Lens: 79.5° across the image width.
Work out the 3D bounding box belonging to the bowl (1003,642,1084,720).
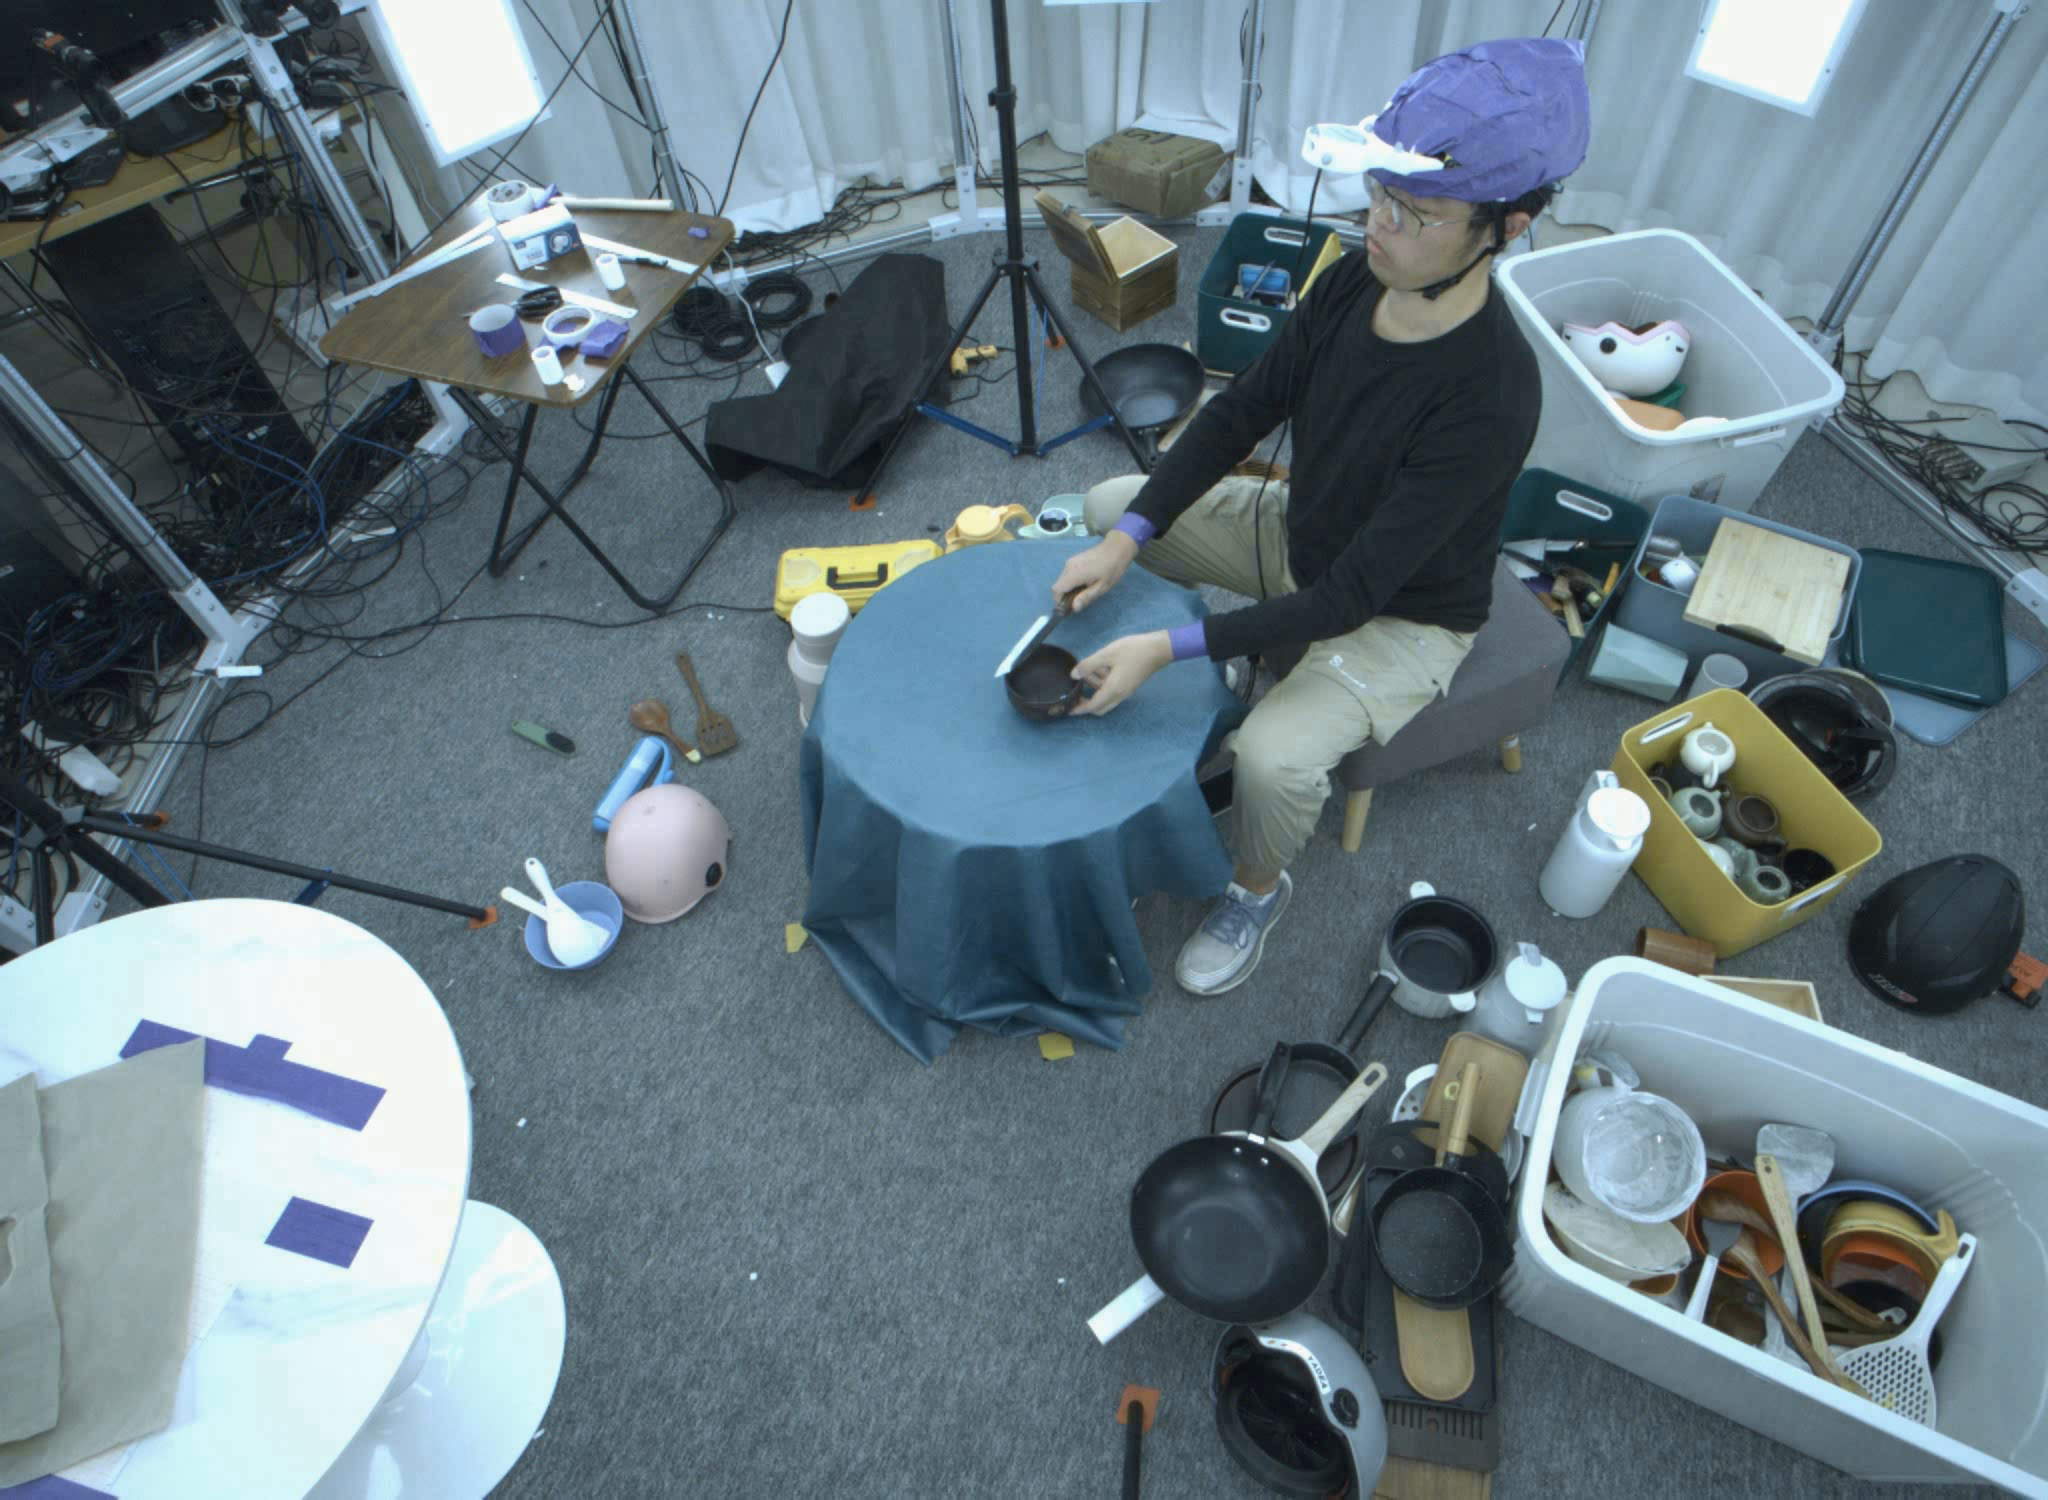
[{"bbox_3d":[0.028,-0.093,1.804,0.118,0.070,0.117,0,54,1],"label":"bowl"}]

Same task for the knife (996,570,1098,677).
[{"bbox_3d":[0.035,-0.189,1.835,0.049,0.020,0.290,2,38,38],"label":"knife"}]
